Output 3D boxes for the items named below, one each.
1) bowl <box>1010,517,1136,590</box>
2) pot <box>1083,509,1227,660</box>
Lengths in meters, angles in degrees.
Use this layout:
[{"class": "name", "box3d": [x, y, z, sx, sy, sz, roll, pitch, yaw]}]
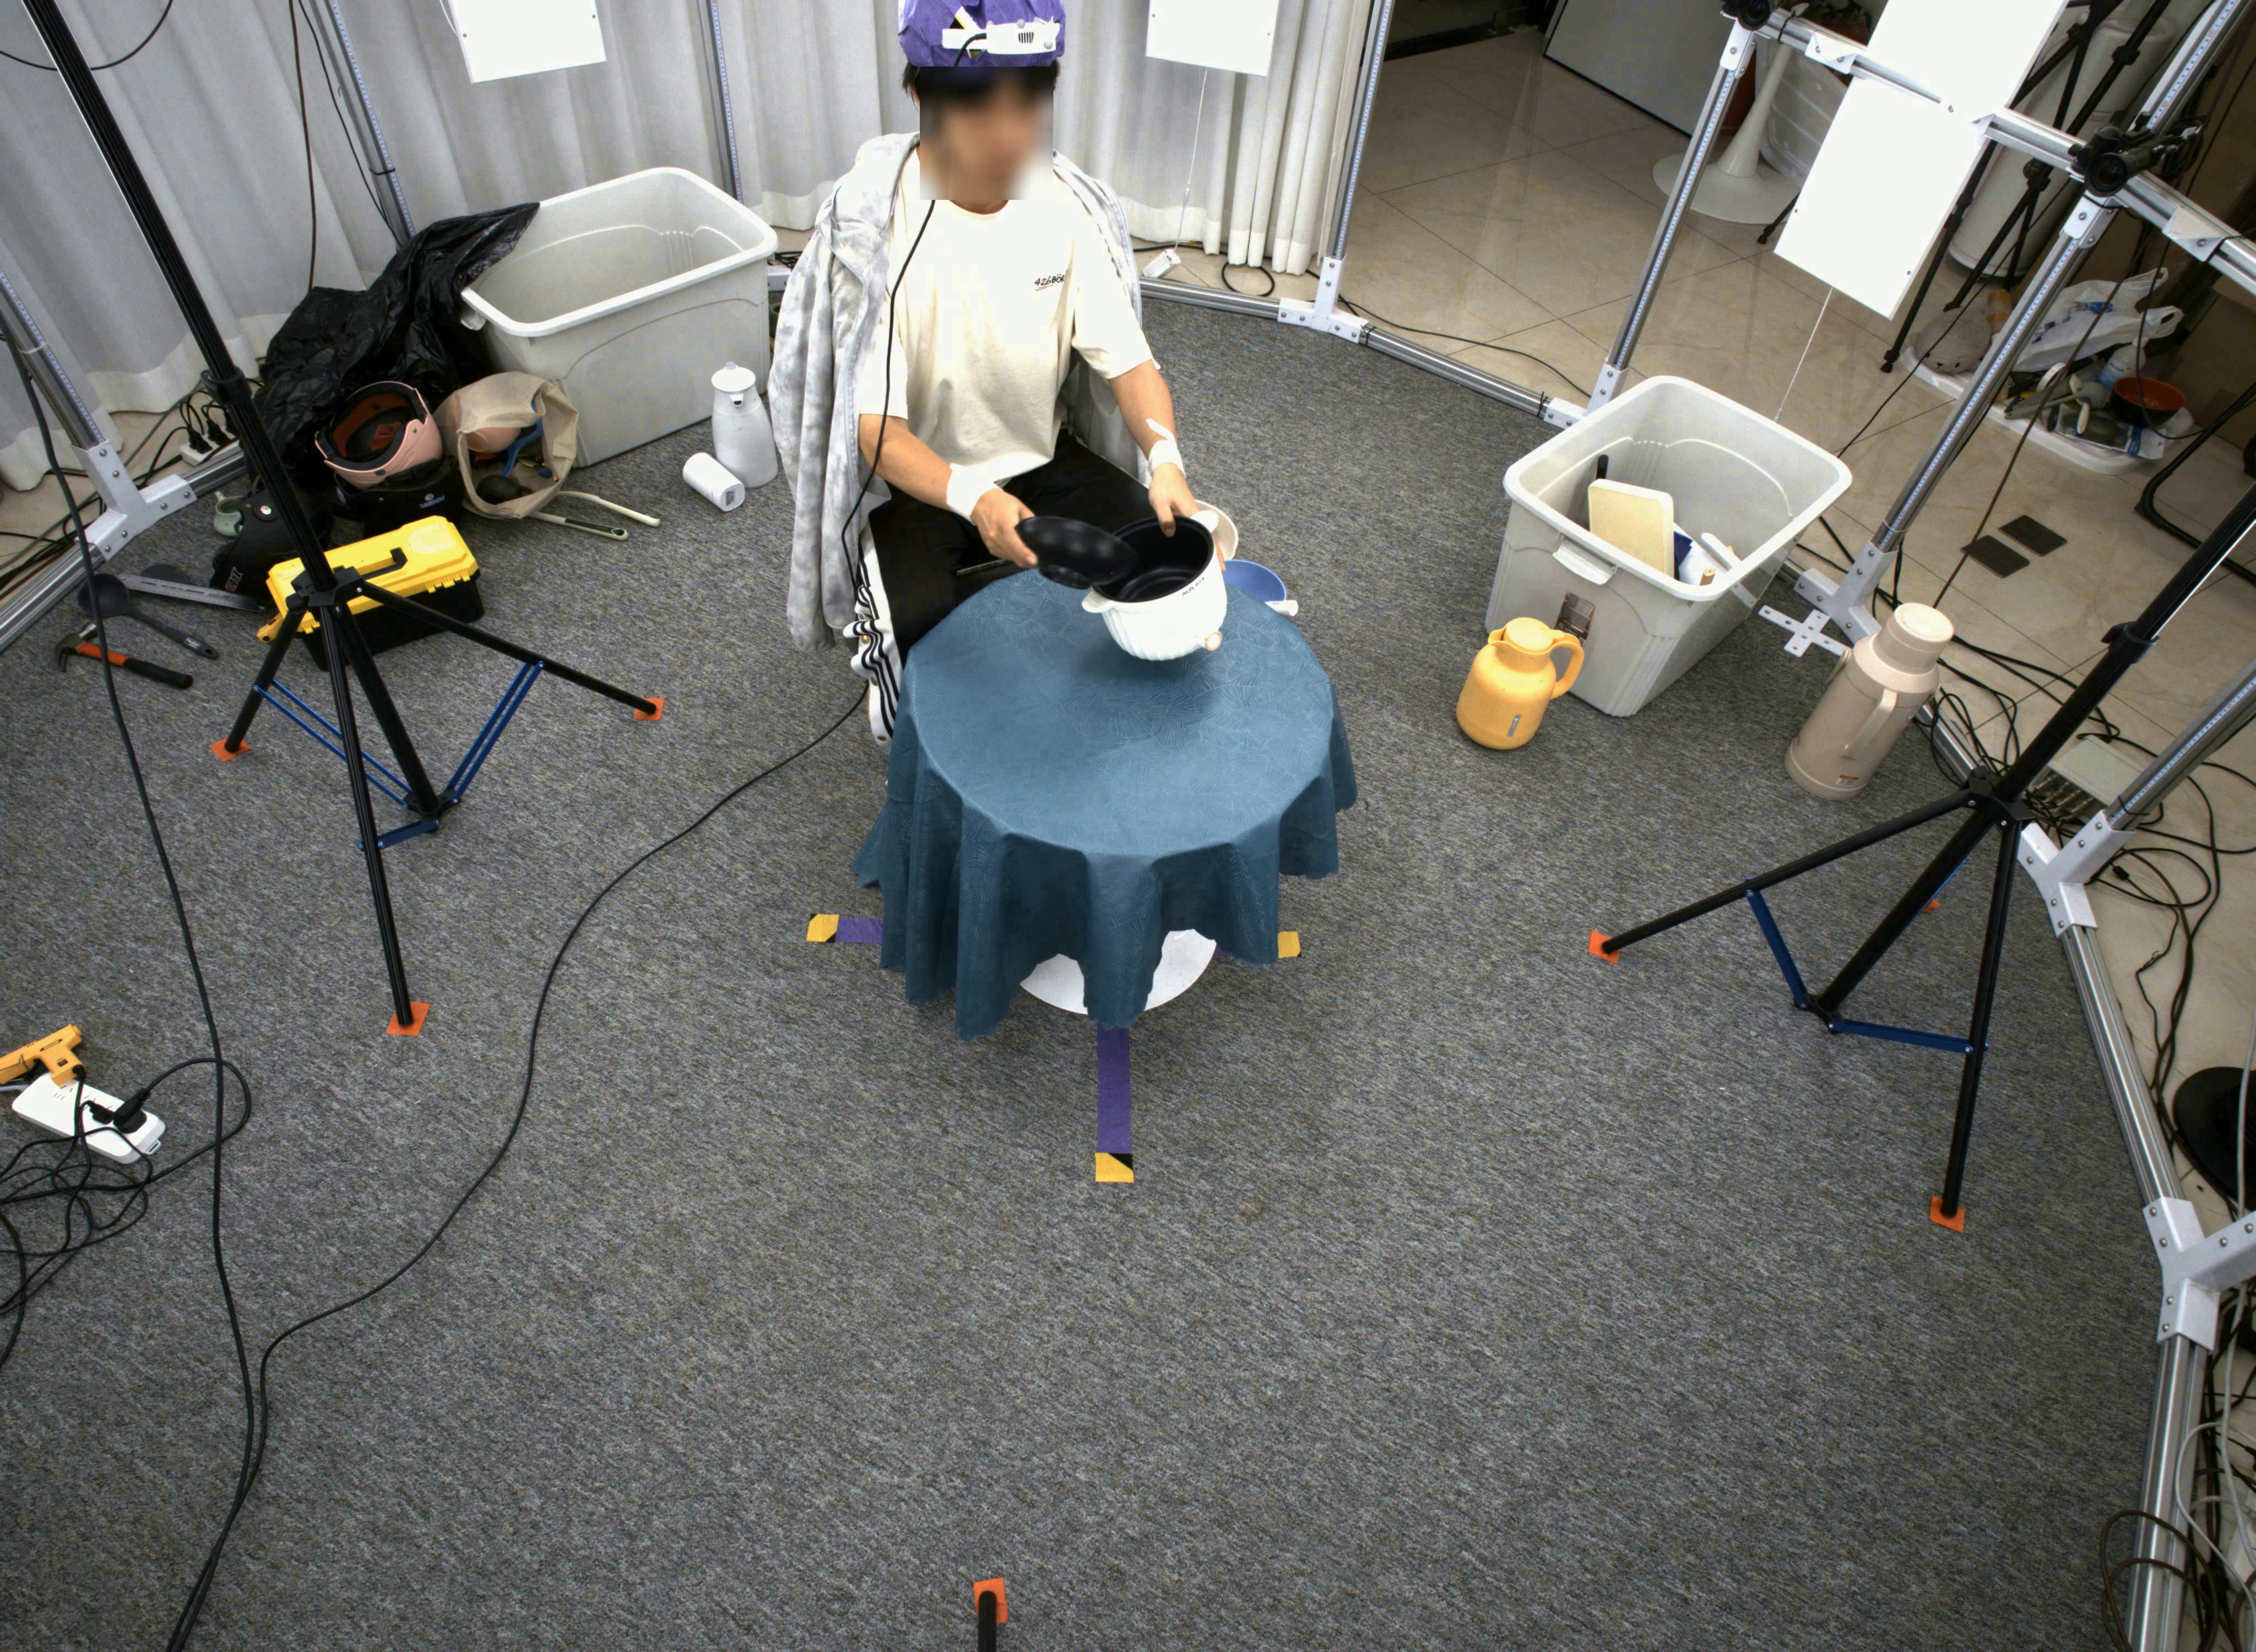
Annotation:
[{"class": "bowl", "box3d": [-0.077, -0.350, 1.678, 0.170, 0.136, 0.067, 16, 87, 6]}, {"class": "pot", "box3d": [0.053, -0.329, 1.816, 0.242, 0.139, 0.194, -40, 45, -16]}]
